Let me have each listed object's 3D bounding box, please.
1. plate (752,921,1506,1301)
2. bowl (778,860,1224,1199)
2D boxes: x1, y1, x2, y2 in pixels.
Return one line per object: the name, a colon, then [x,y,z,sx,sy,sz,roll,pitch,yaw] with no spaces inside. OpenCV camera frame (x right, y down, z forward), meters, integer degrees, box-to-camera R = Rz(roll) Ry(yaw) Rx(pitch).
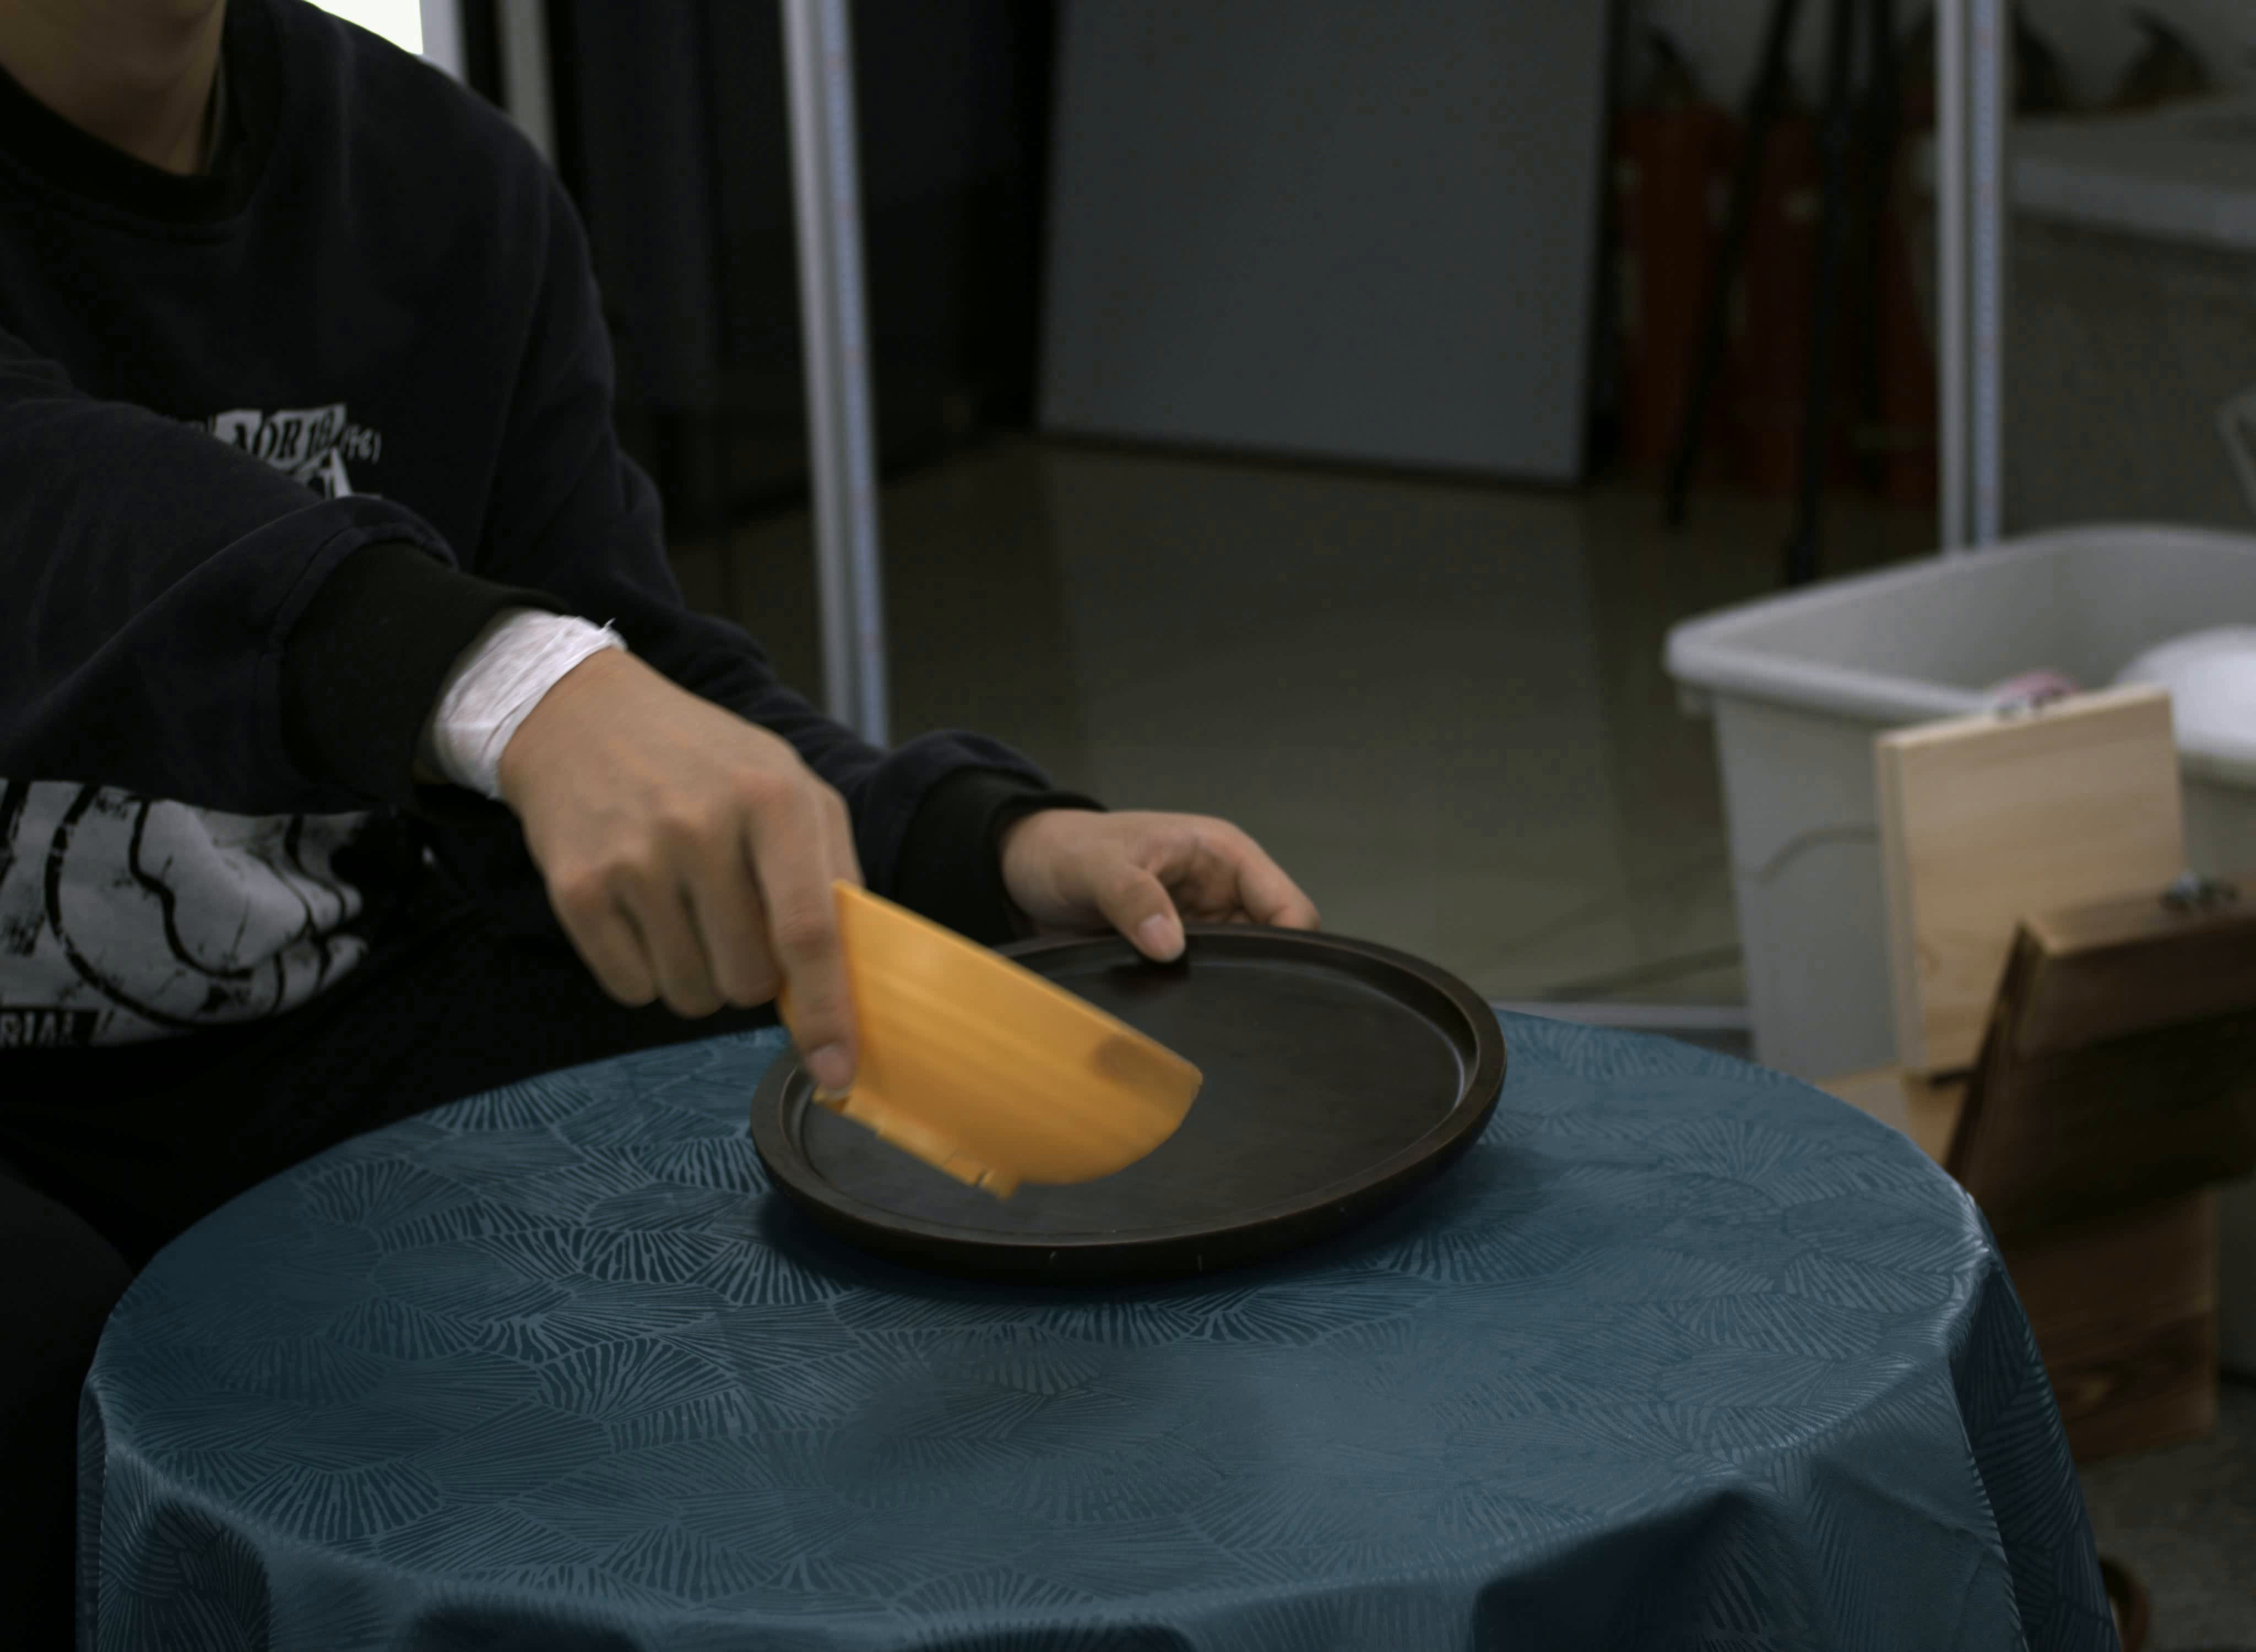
plate: [0.001,0.091,1.780,0.252,0.029,0.255,-8,22,2]
bowl: [-0.047,0.068,1.586,0.144,0.060,0.145,25,-8,3]
